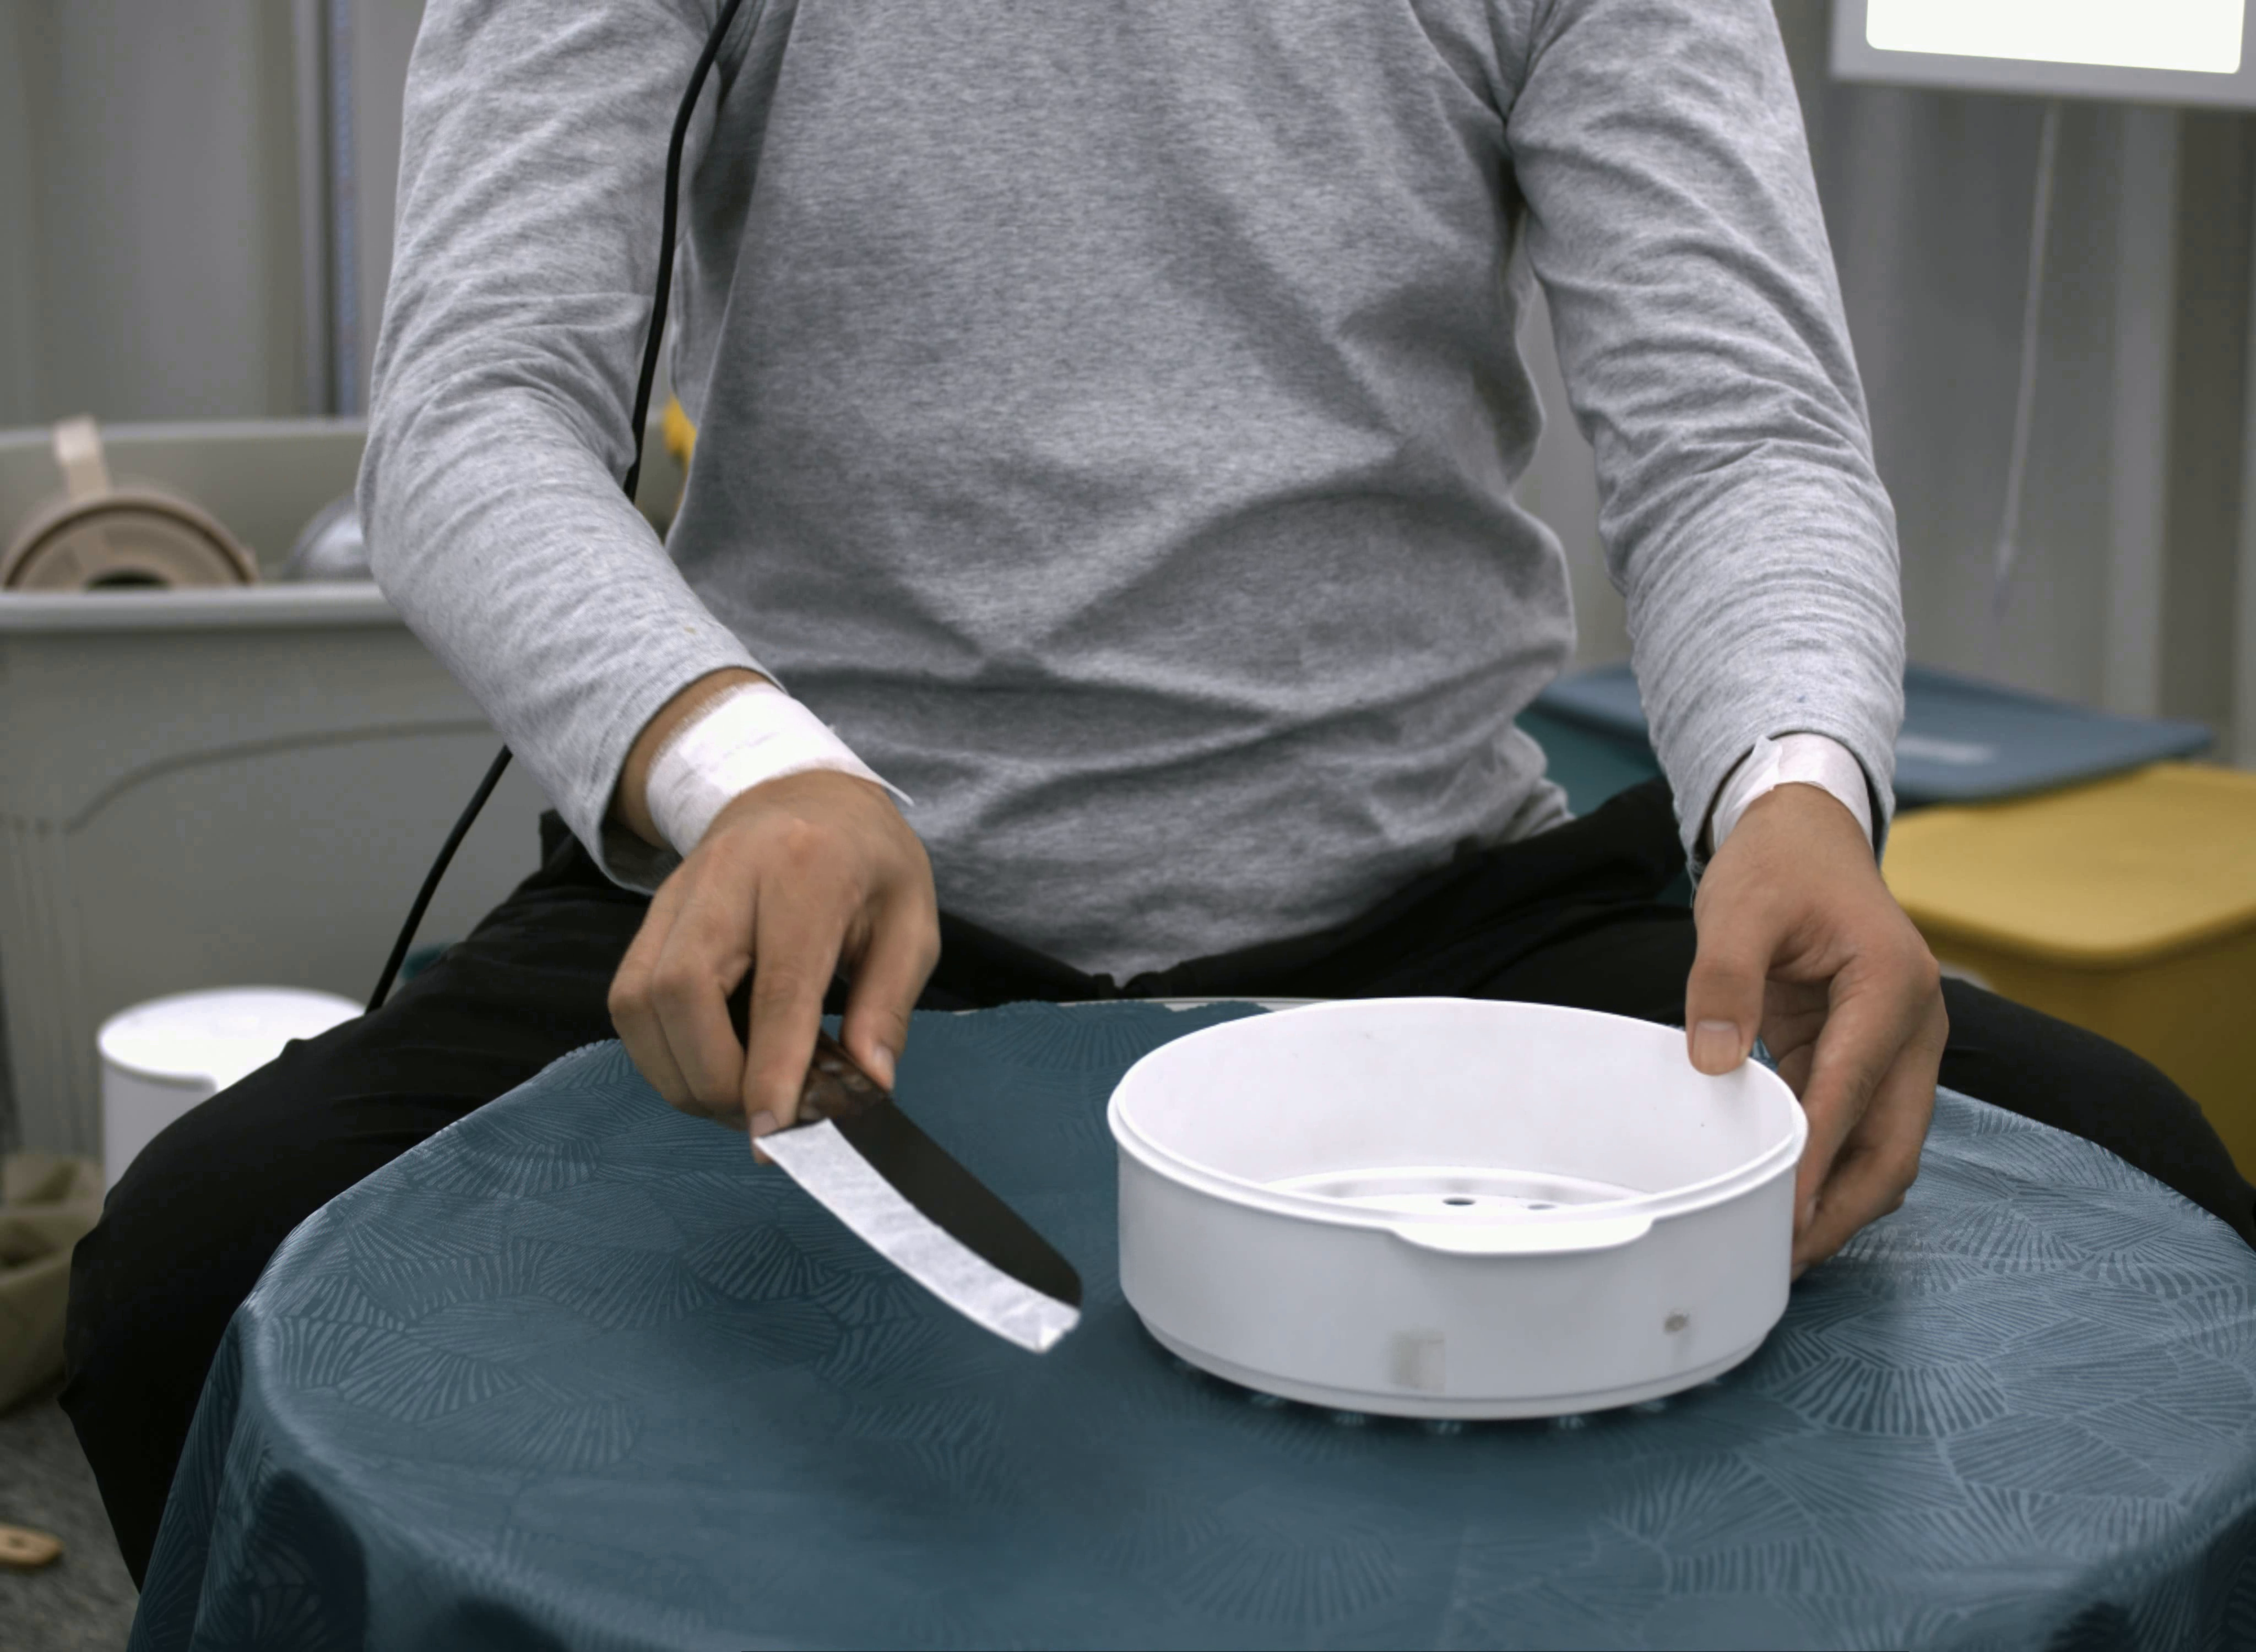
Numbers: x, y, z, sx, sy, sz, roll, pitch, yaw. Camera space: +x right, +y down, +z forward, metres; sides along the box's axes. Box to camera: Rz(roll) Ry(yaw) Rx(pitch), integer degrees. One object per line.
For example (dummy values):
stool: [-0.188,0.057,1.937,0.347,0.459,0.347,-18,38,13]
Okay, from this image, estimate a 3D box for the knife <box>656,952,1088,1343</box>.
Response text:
knife: [-0.076,0.089,1.467,0.050,0.020,0.285,-13,22,-20]

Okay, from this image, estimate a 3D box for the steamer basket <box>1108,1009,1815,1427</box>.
steamer basket: [0.094,0.111,1.507,0.202,0.070,0.229,-1,15,-8]
